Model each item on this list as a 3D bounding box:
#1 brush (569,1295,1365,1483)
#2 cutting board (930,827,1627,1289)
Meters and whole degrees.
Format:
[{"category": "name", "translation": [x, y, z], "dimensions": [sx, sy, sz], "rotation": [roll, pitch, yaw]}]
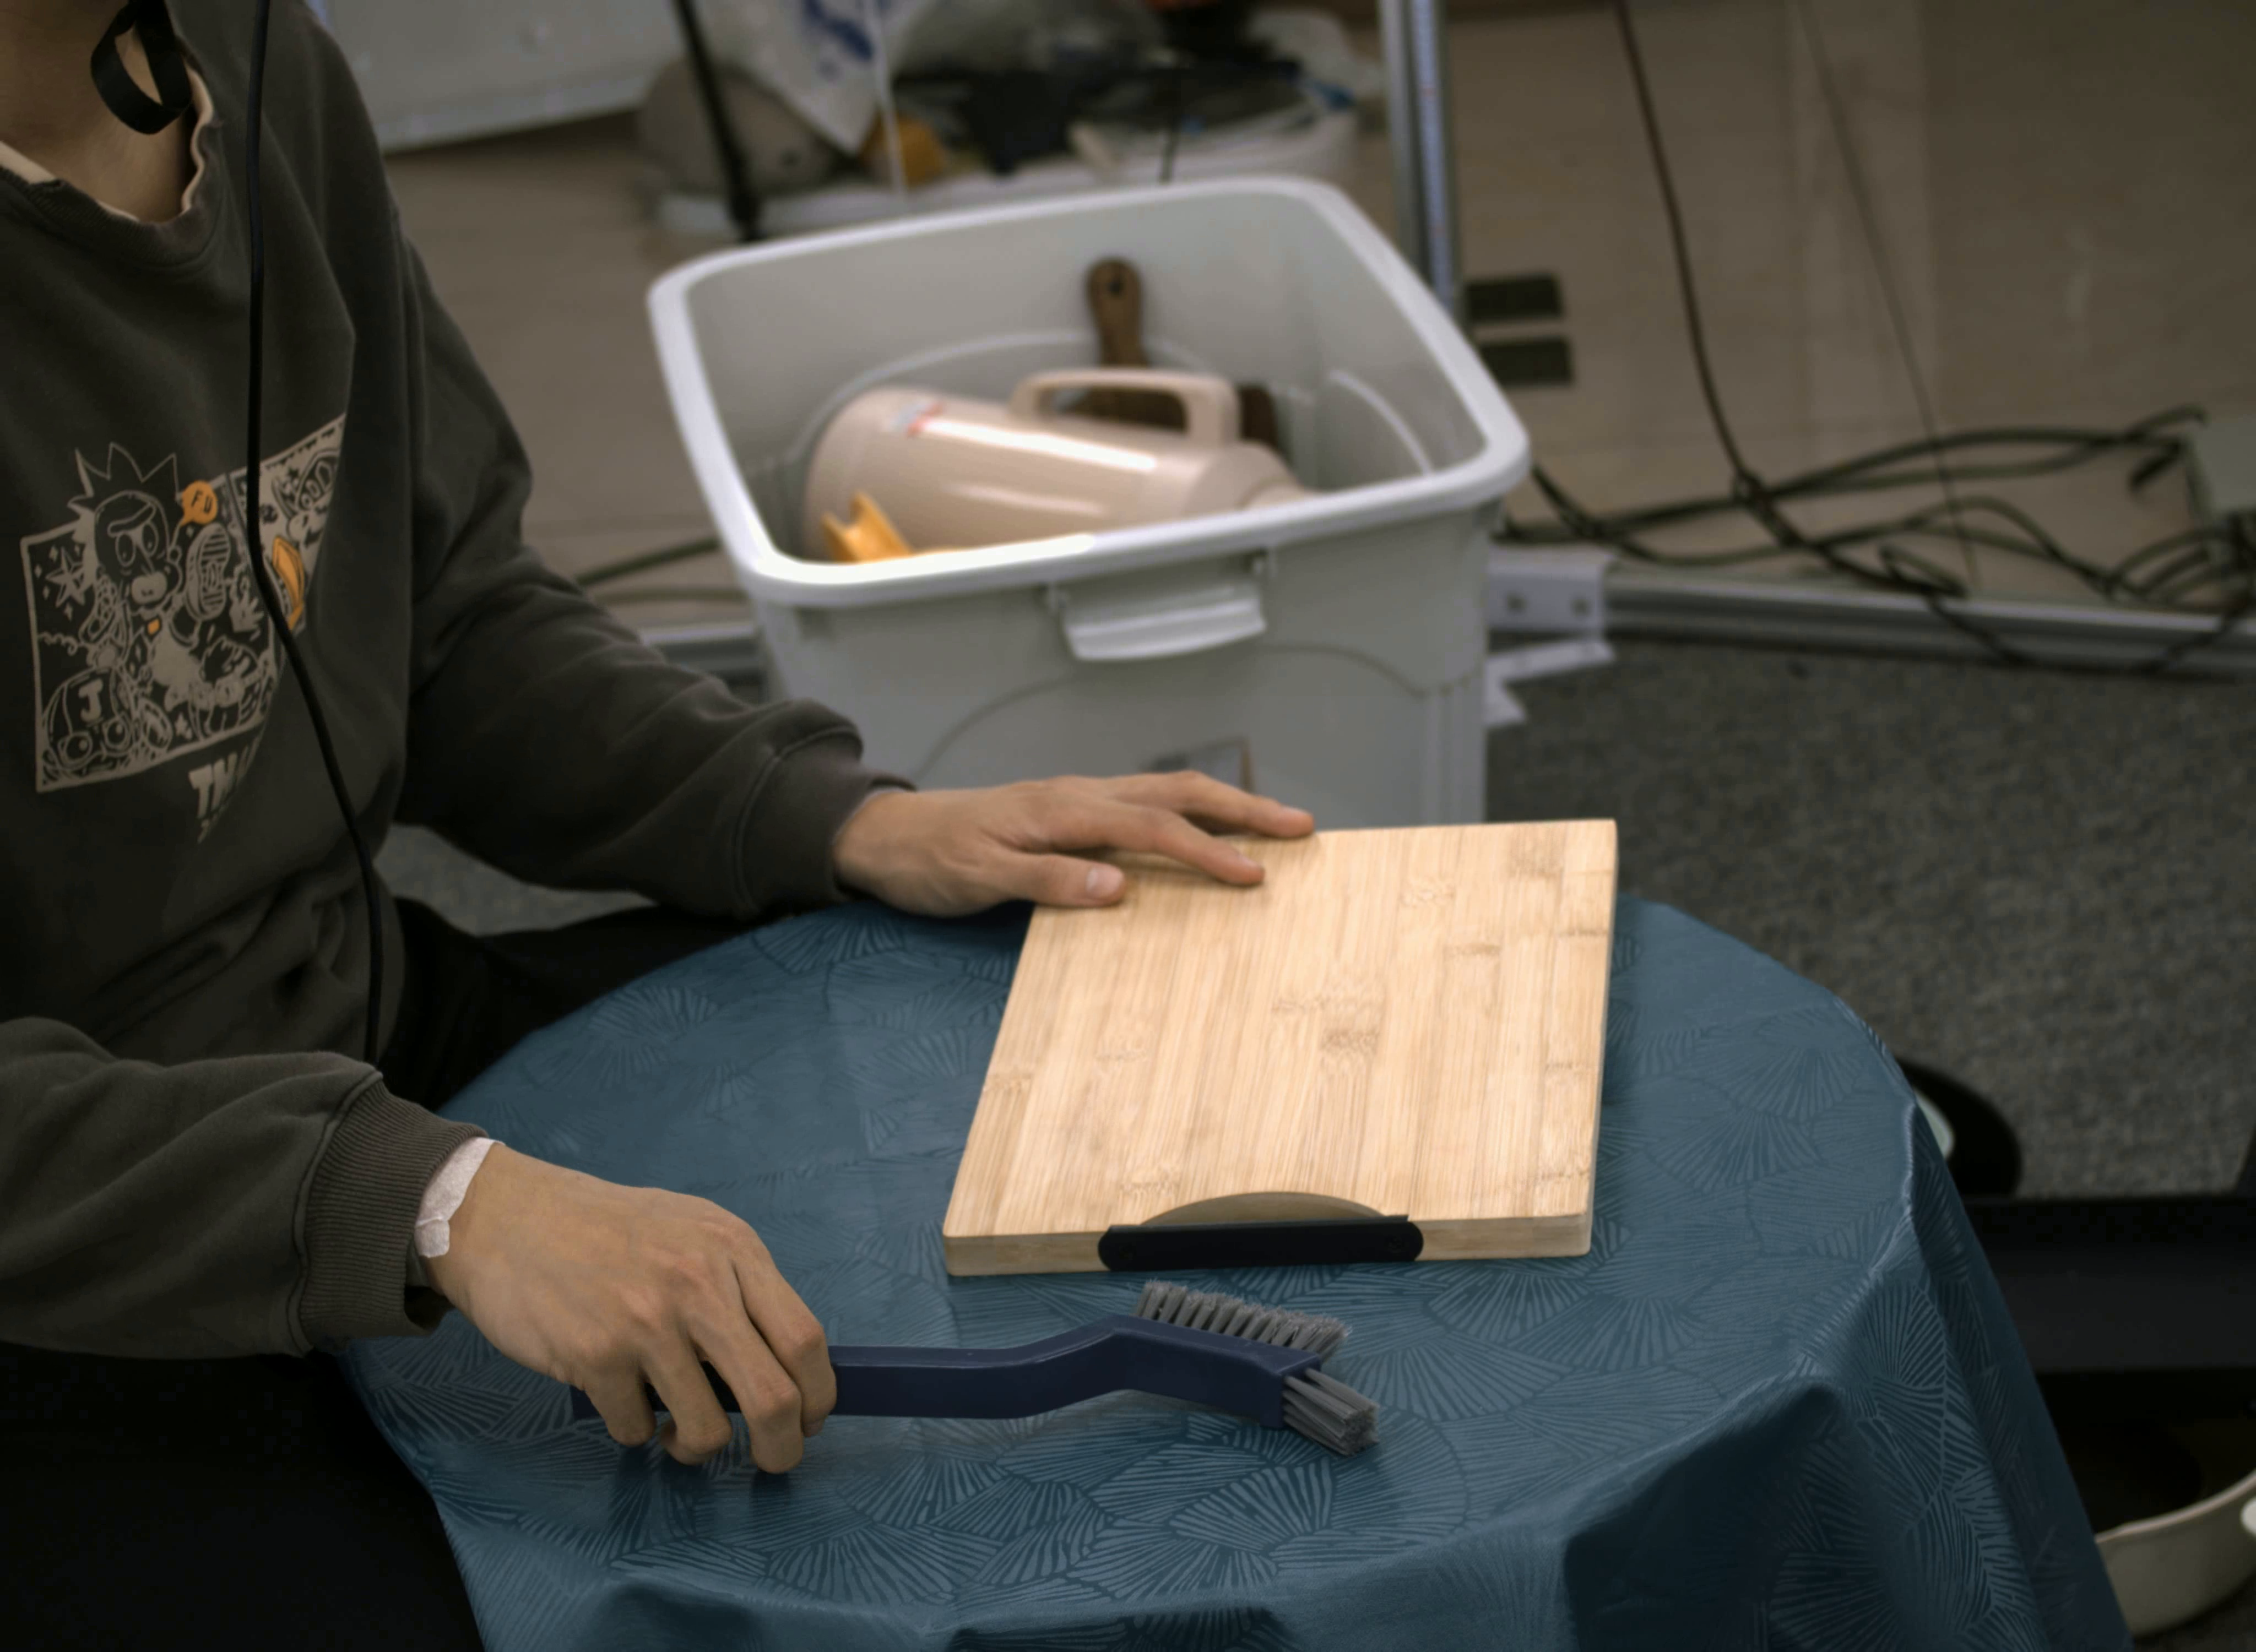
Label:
[{"category": "brush", "translation": [-0.058, 0.197, 1.980], "dimensions": [0.273, 0.034, 0.094], "rotation": [-3, 34, -4]}, {"category": "cutting board", "translation": [0.067, 0.085, 2.225], "dimensions": [0.250, 0.024, 0.343], "rotation": [-4, 25, 8]}]
